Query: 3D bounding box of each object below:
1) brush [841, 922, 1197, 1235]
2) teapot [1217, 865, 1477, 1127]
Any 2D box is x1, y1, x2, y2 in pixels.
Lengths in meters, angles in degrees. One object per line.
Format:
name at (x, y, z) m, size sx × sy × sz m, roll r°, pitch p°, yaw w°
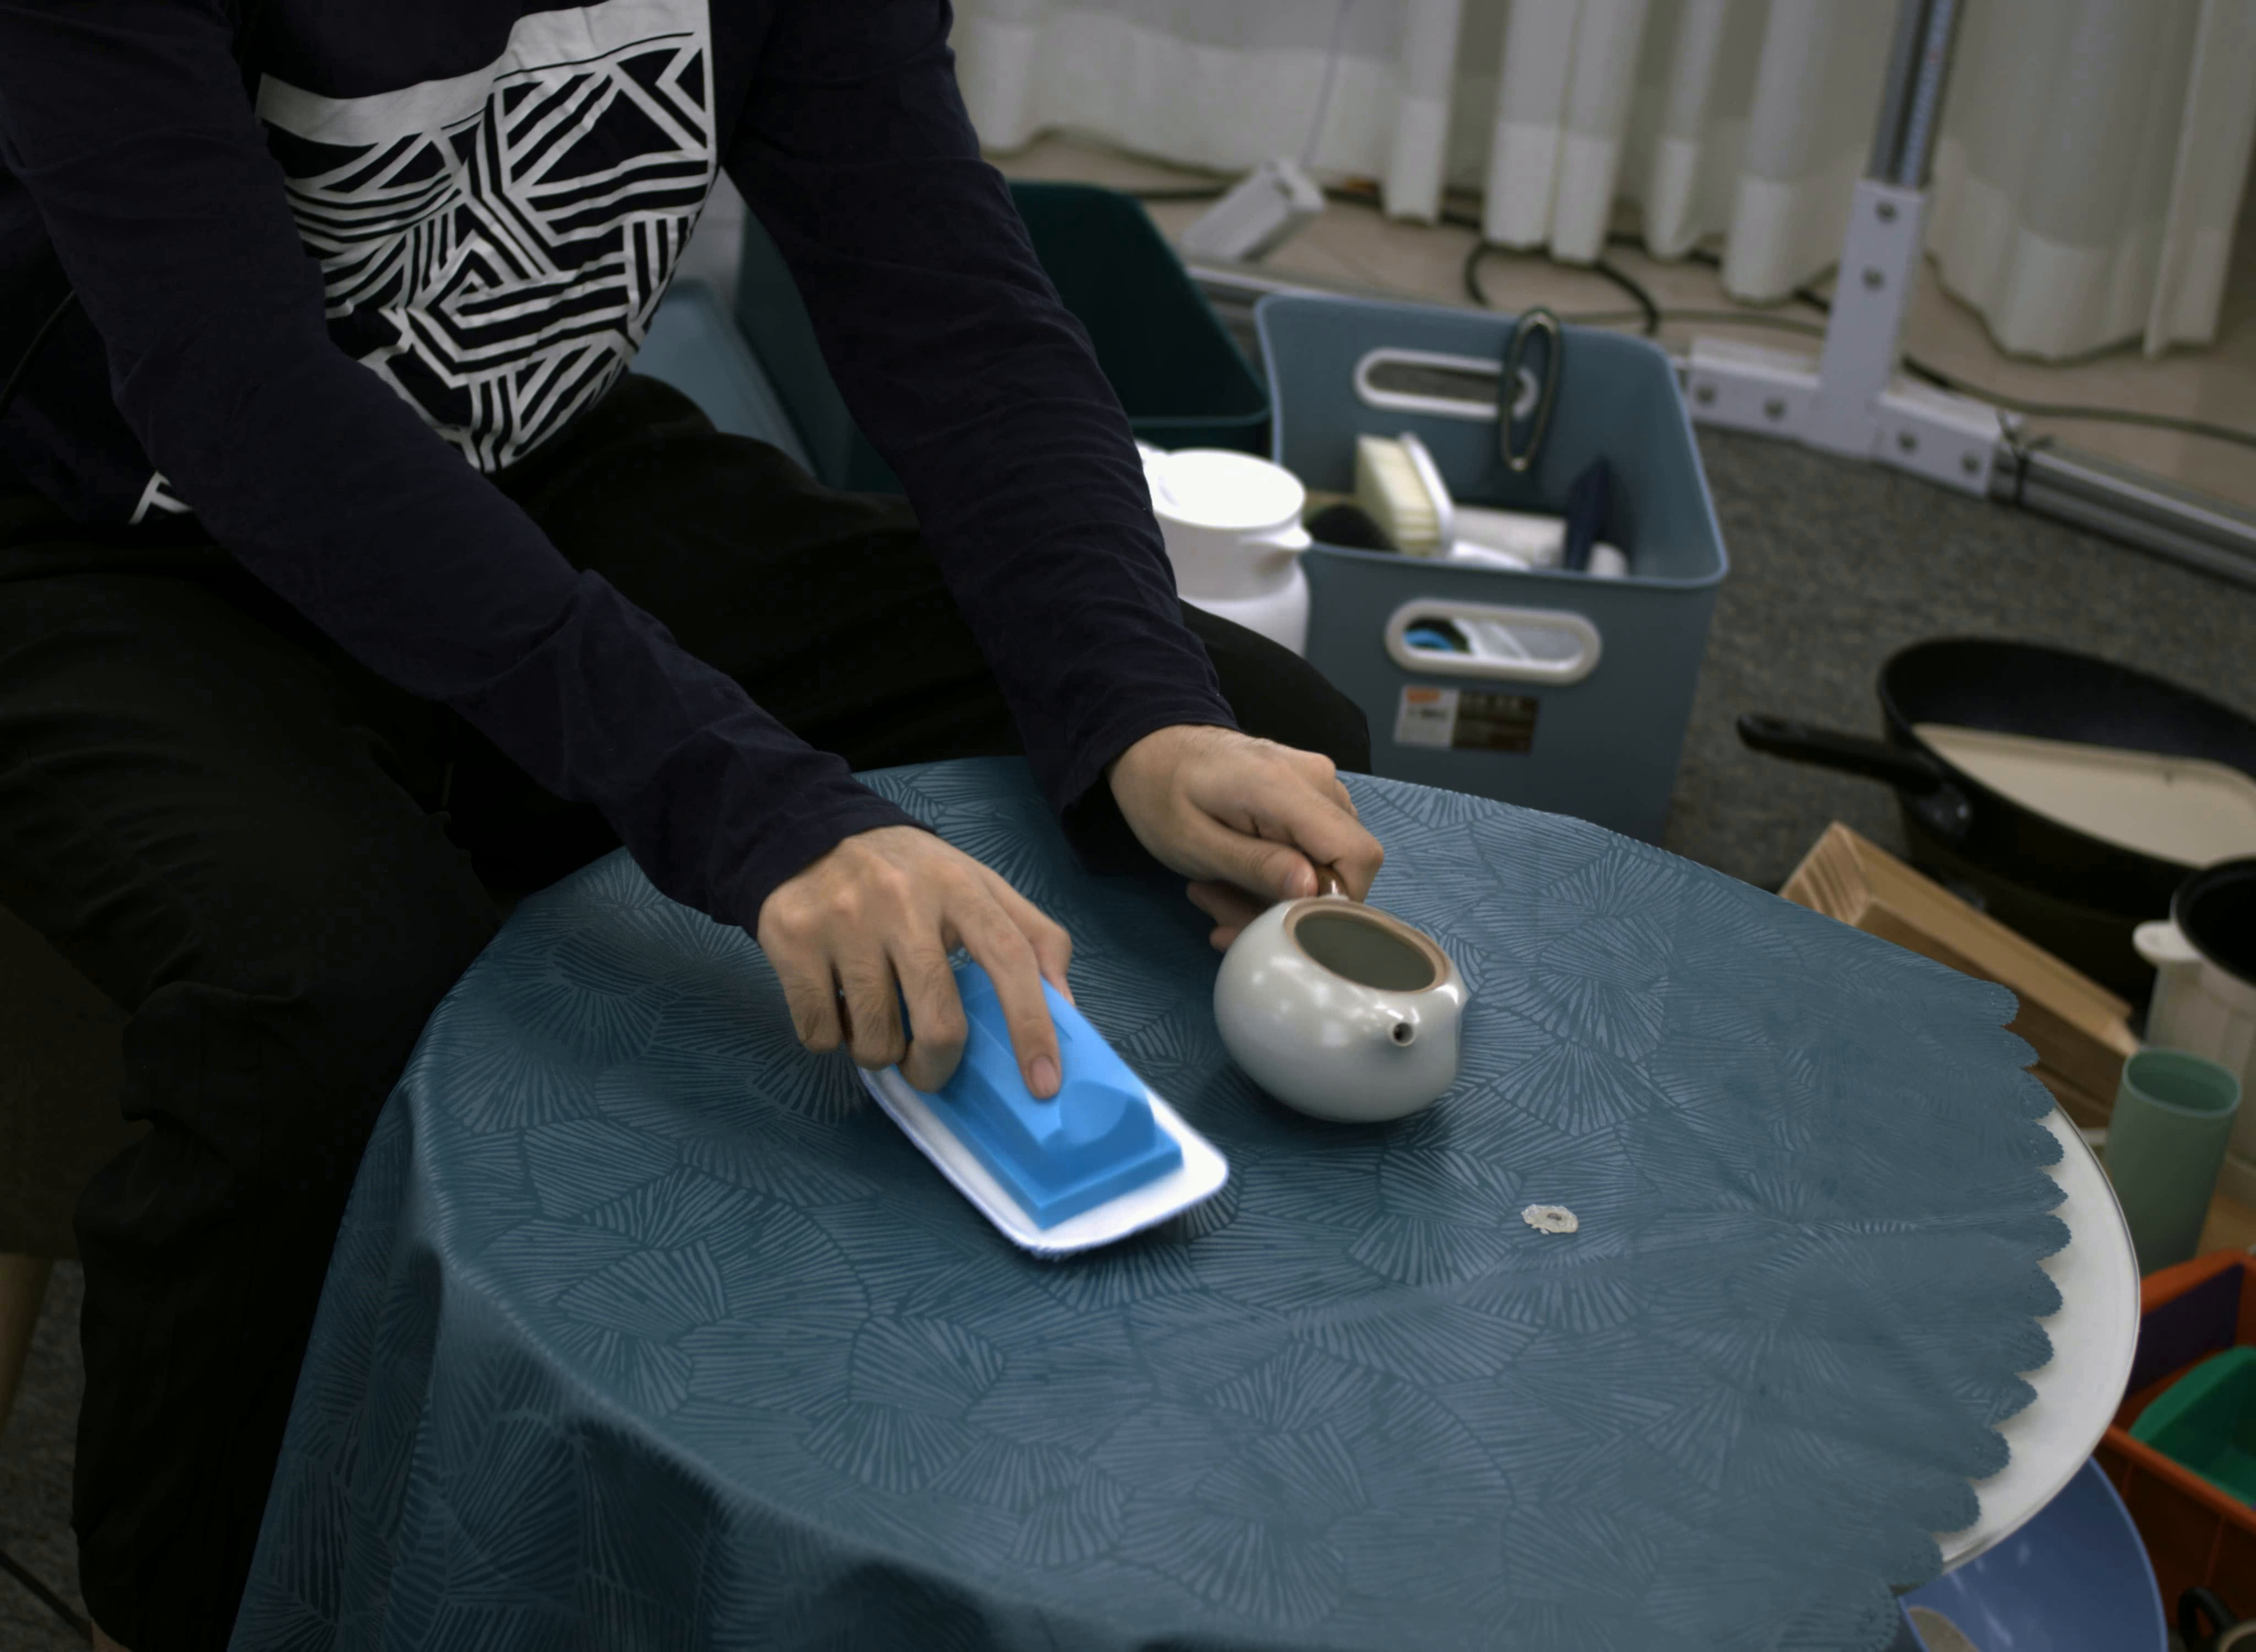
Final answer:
brush at (-0.037, 0.080, 1.804) m, size 0.083 × 0.055 × 0.145 m, roll -14°, pitch 37°, yaw -22°
teapot at (0.074, 0.061, 1.872) m, size 0.091 × 0.059 × 0.129 m, roll 2°, pitch 31°, yaw -18°
